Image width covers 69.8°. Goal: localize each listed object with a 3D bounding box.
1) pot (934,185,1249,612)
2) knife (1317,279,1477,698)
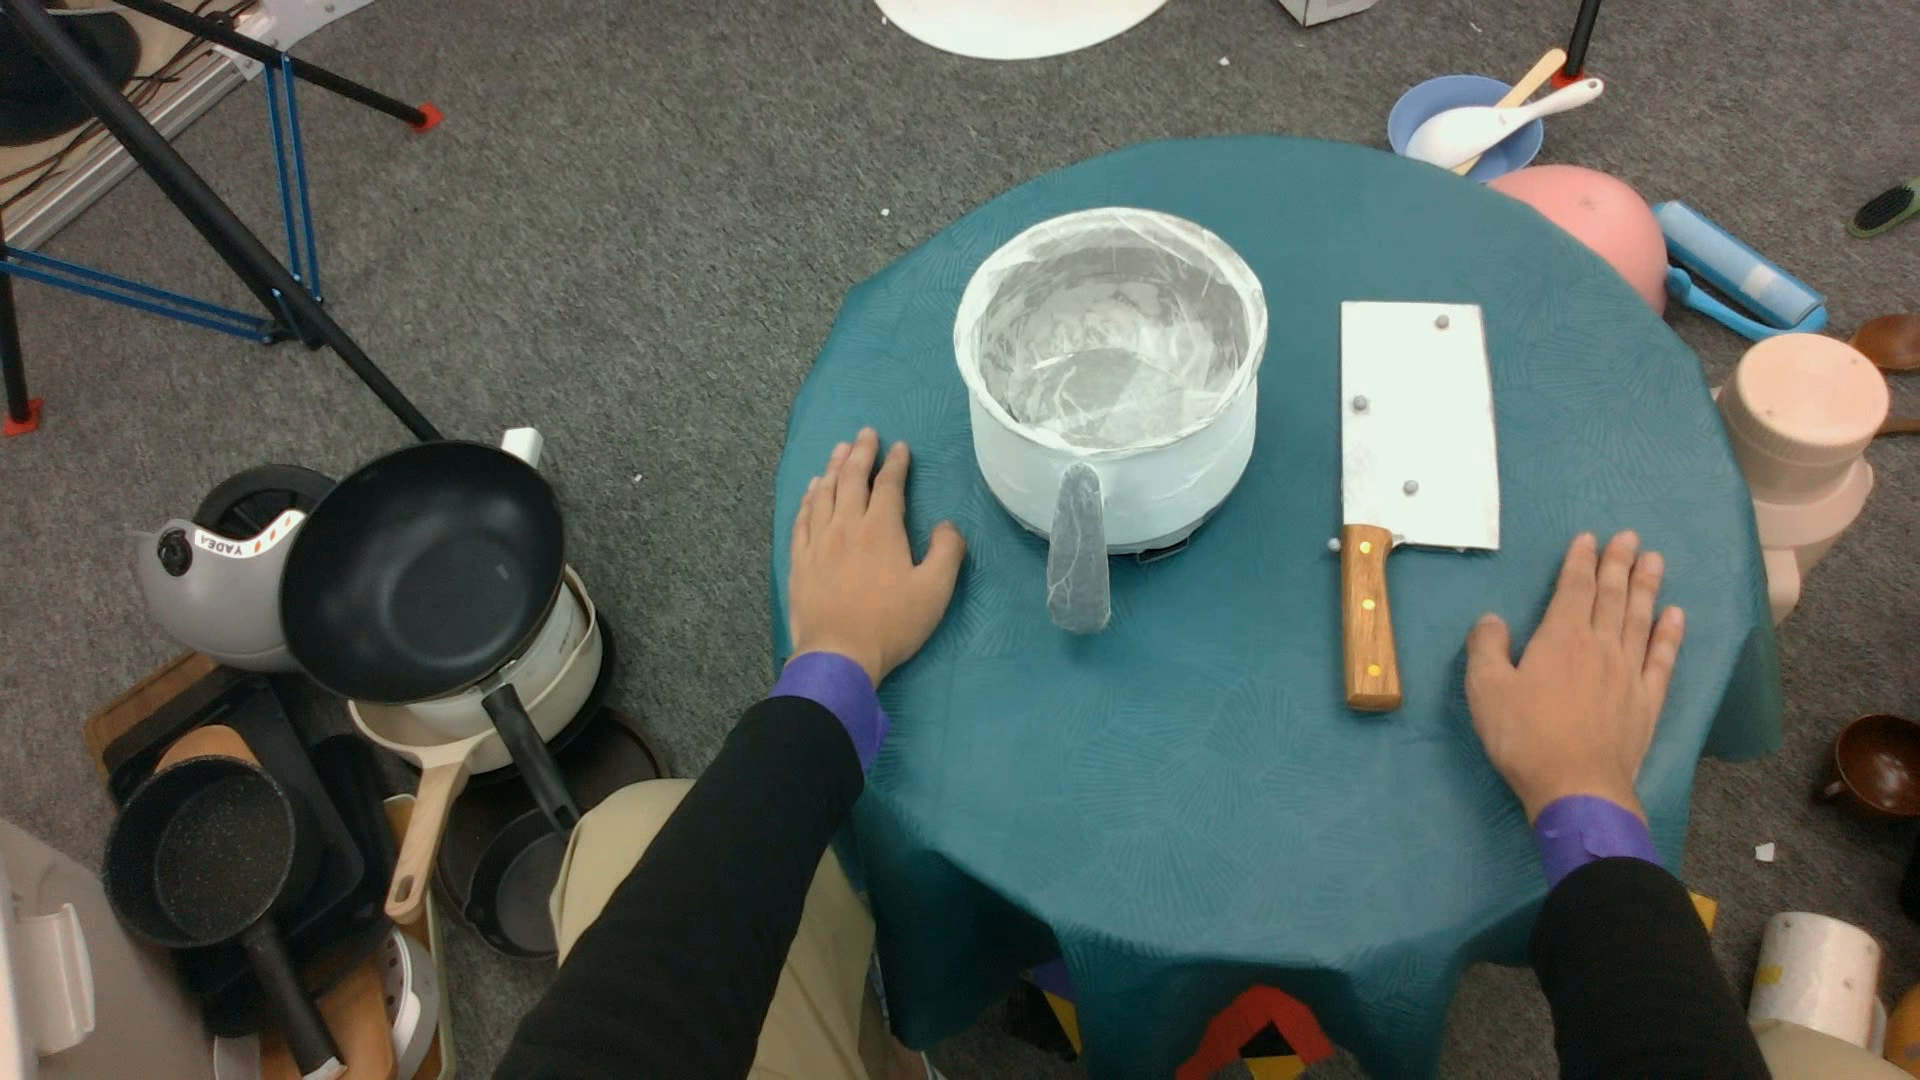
[{"bbox_3d":[0.076,-0.080,0.818,0.178,0.136,0.234,4,60,11],"label":"pot"},{"bbox_3d":[0.267,-0.043,0.846,0.093,0.021,0.307,2,59,10],"label":"knife"}]
